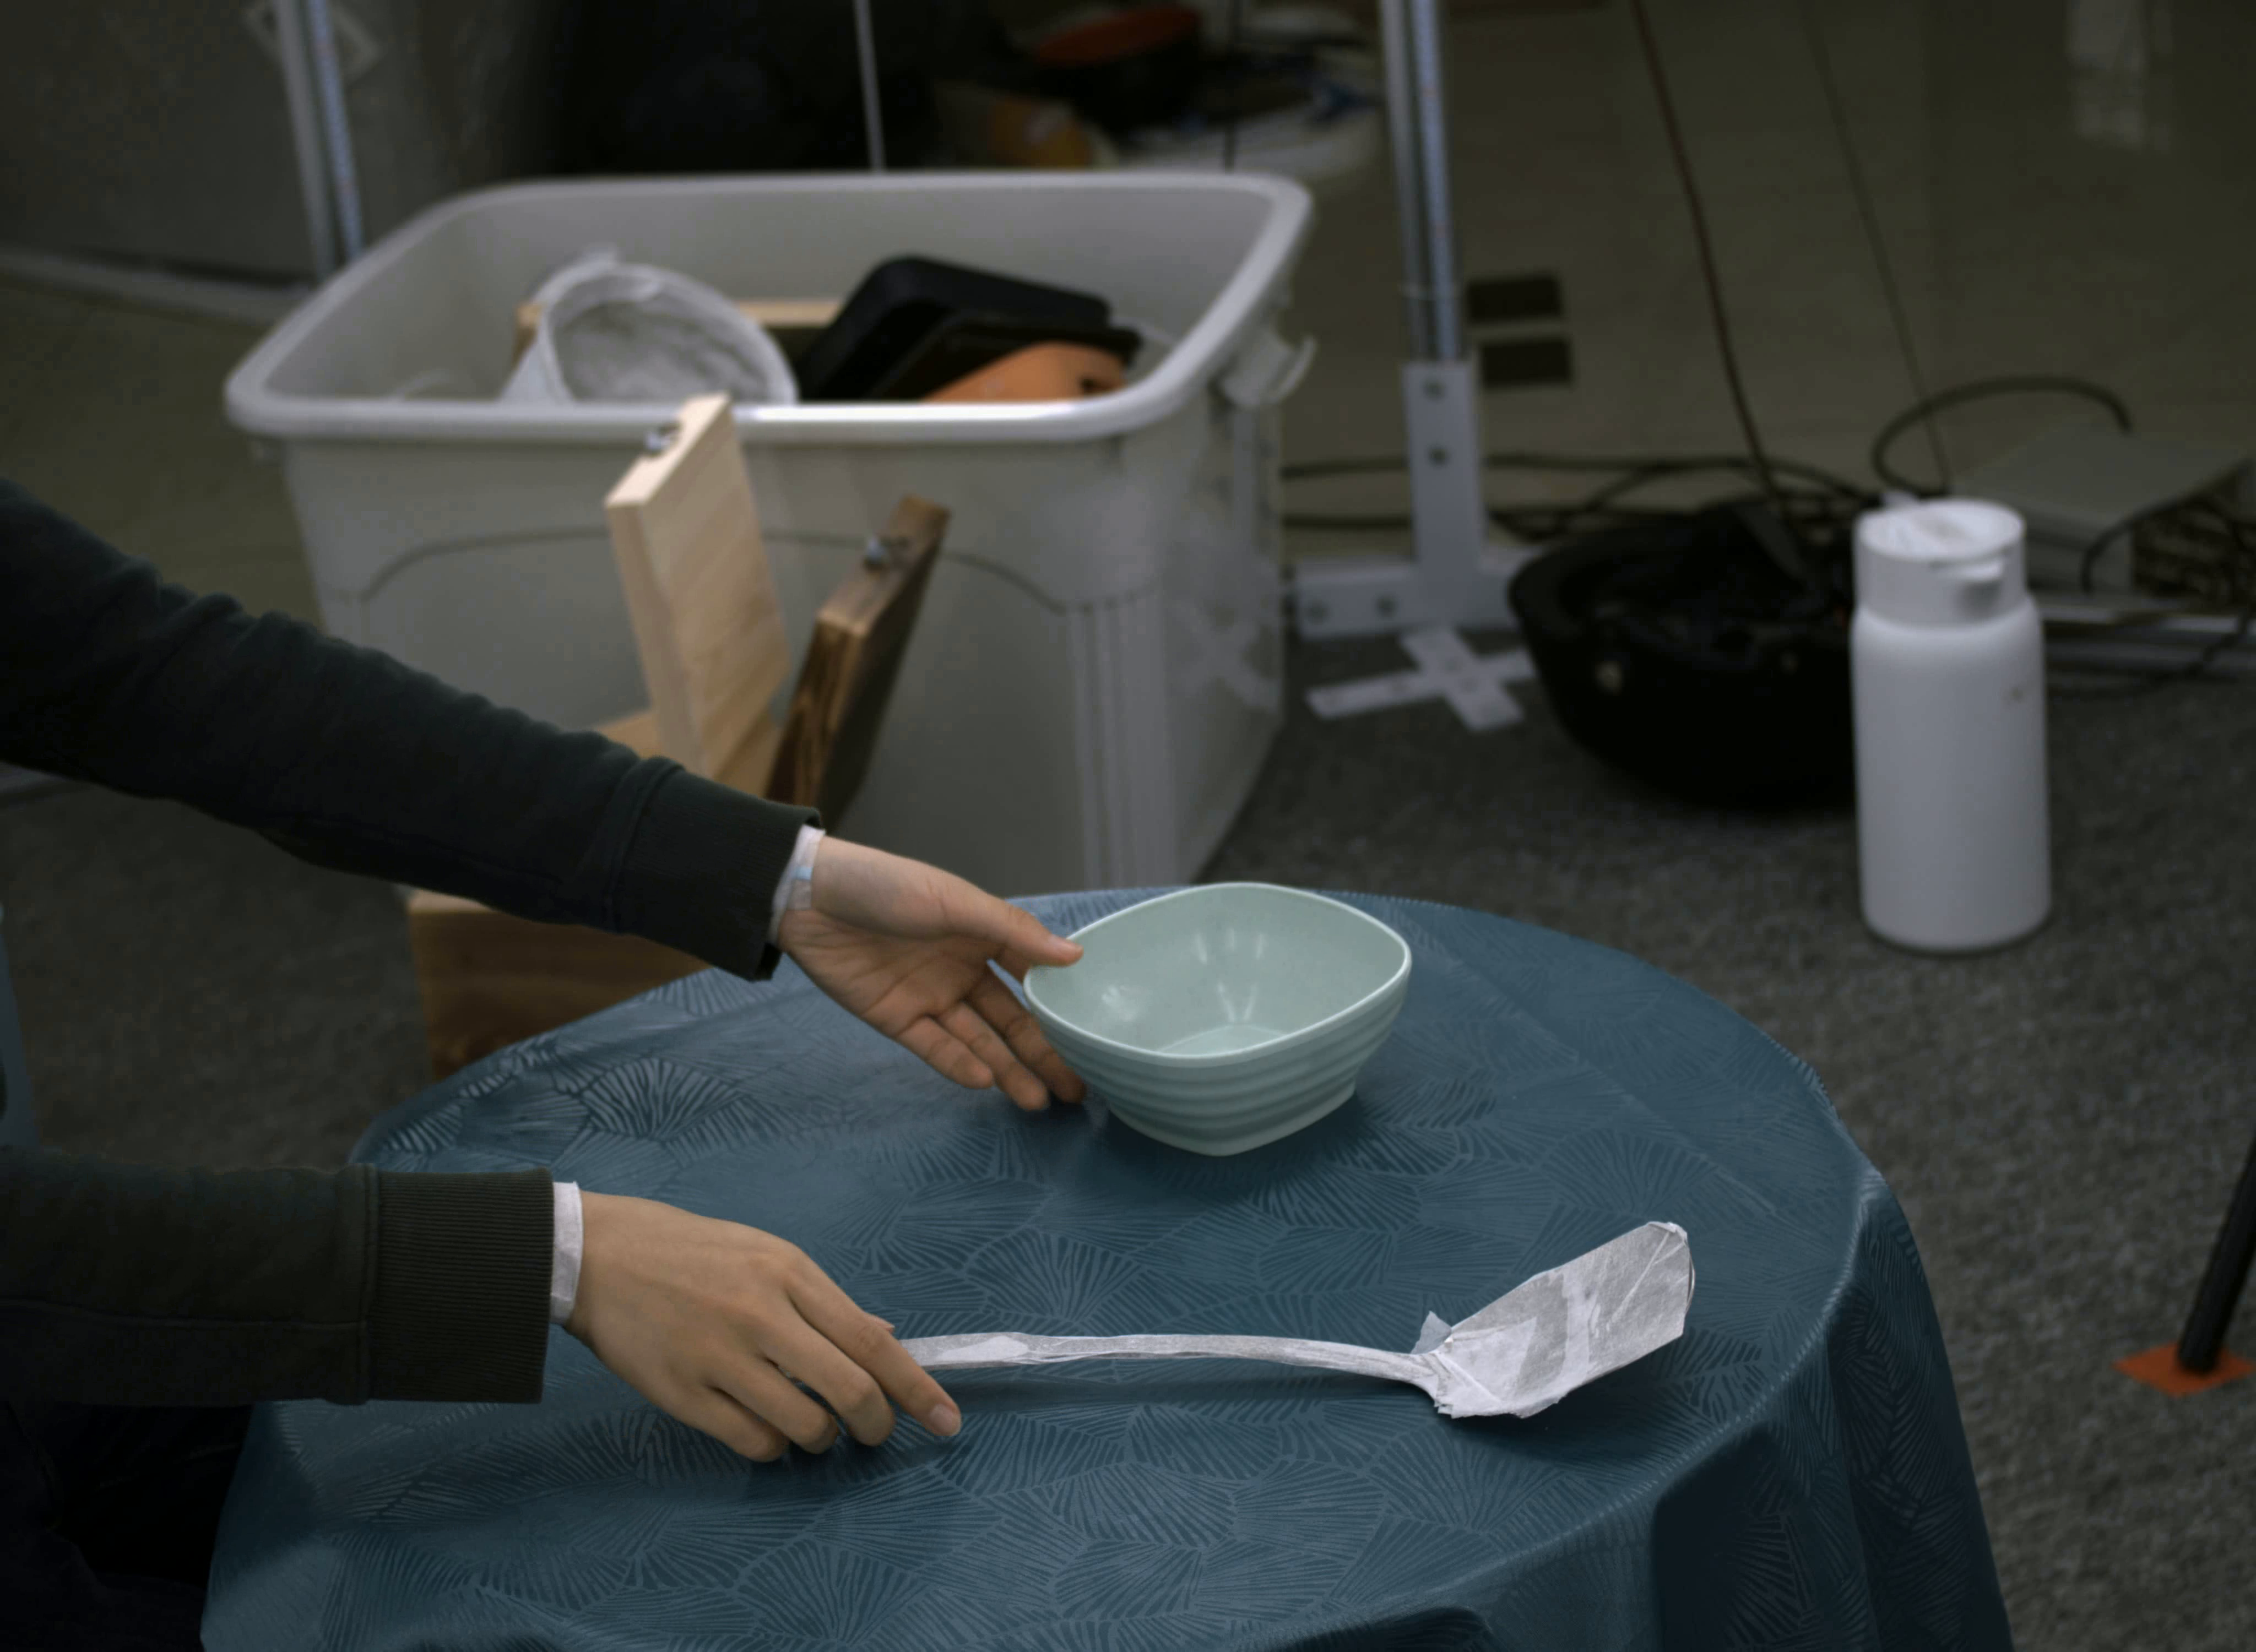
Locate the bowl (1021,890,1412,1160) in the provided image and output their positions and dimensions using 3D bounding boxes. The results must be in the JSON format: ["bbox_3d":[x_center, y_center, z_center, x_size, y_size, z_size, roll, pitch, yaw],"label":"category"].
[{"bbox_3d":[0.035,0.082,2.200,0.151,0.059,0.149,-3,25,1],"label":"bowl"}]

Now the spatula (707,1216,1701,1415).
[{"bbox_3d":[0.022,0.180,2.013,0.364,0.045,0.097,-1,27,10],"label":"spatula"}]
